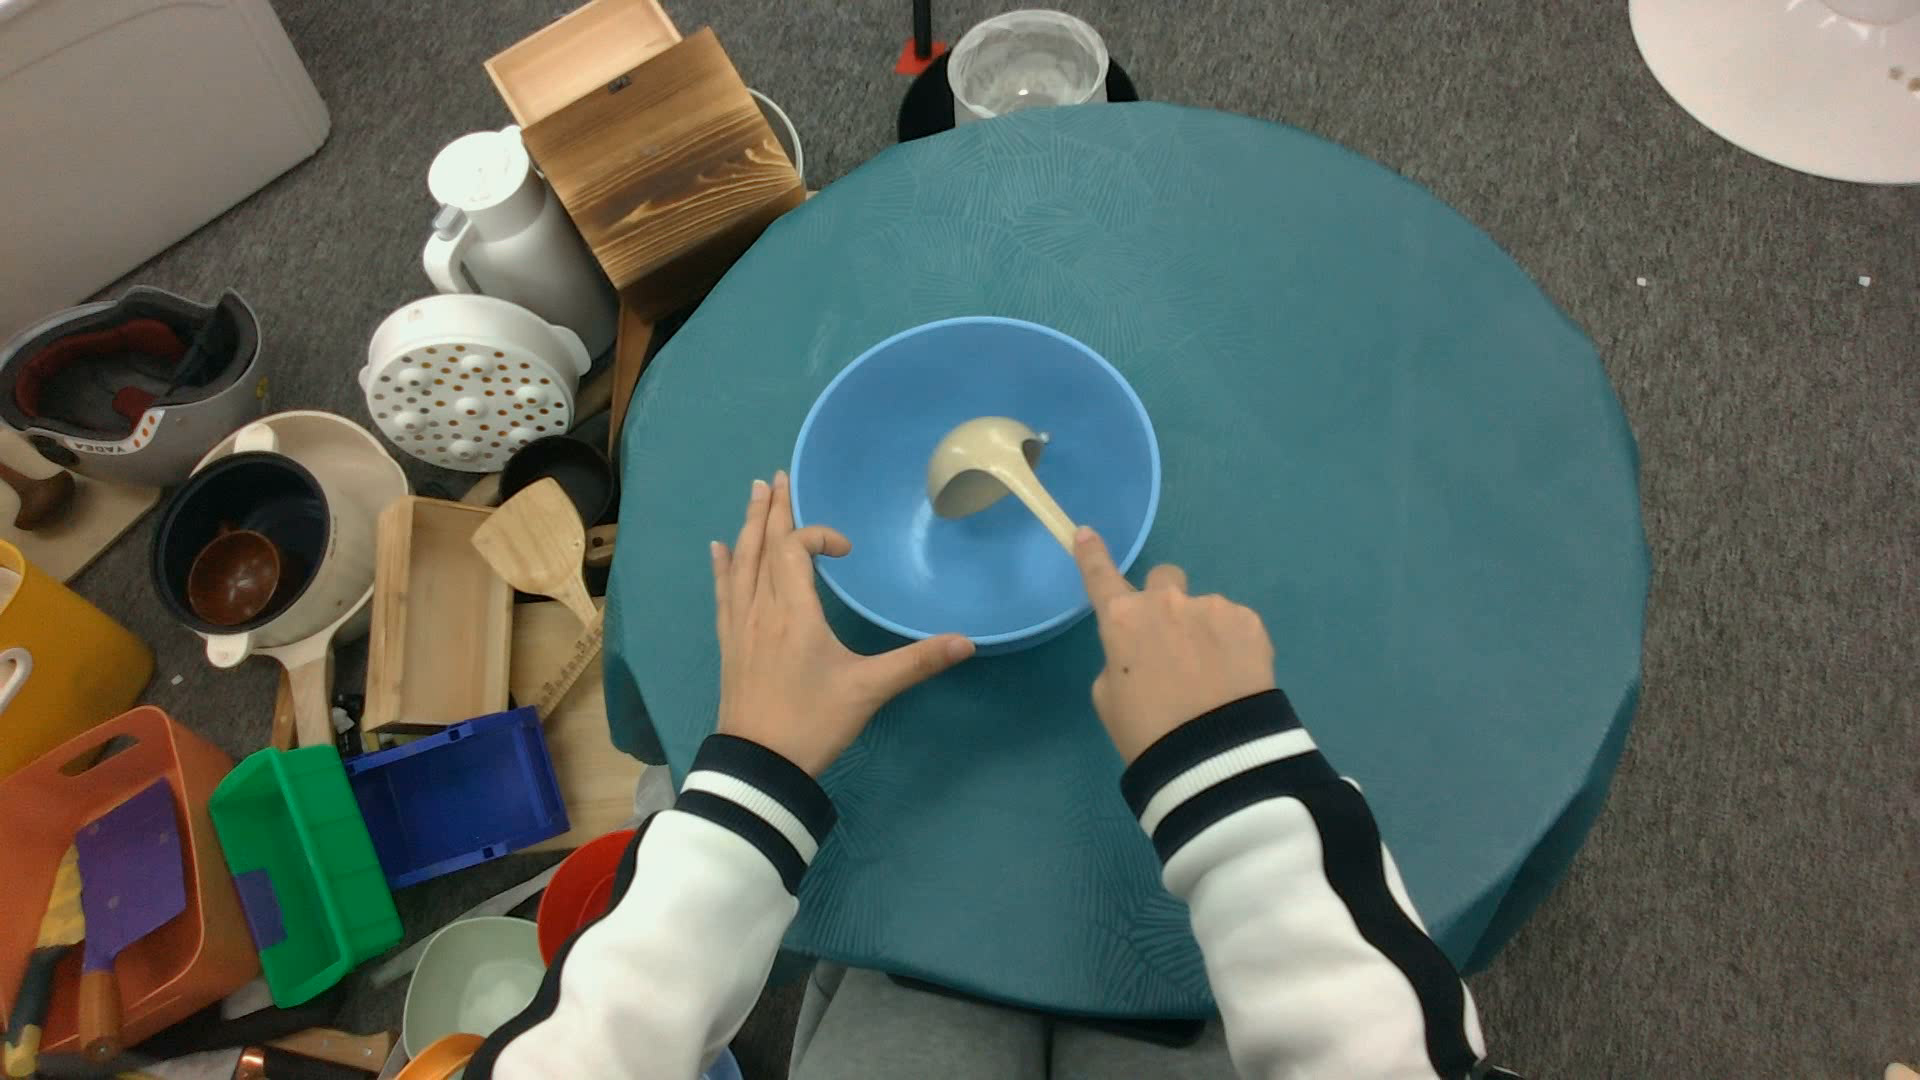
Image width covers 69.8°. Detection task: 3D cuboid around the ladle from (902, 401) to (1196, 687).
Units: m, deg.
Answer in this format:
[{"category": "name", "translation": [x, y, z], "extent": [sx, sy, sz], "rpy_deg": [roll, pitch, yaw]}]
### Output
[{"category": "ladle", "translation": [0.046, 0.014, 0.702], "extent": [0.072, 0.072, 0.255], "rpy_deg": [-24, 45, -14]}]

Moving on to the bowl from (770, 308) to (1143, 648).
[{"category": "bowl", "translation": [-0.001, -0.022, 0.765], "extent": [0.196, 0.095, 0.197], "rpy_deg": [0, 65, 1]}]
